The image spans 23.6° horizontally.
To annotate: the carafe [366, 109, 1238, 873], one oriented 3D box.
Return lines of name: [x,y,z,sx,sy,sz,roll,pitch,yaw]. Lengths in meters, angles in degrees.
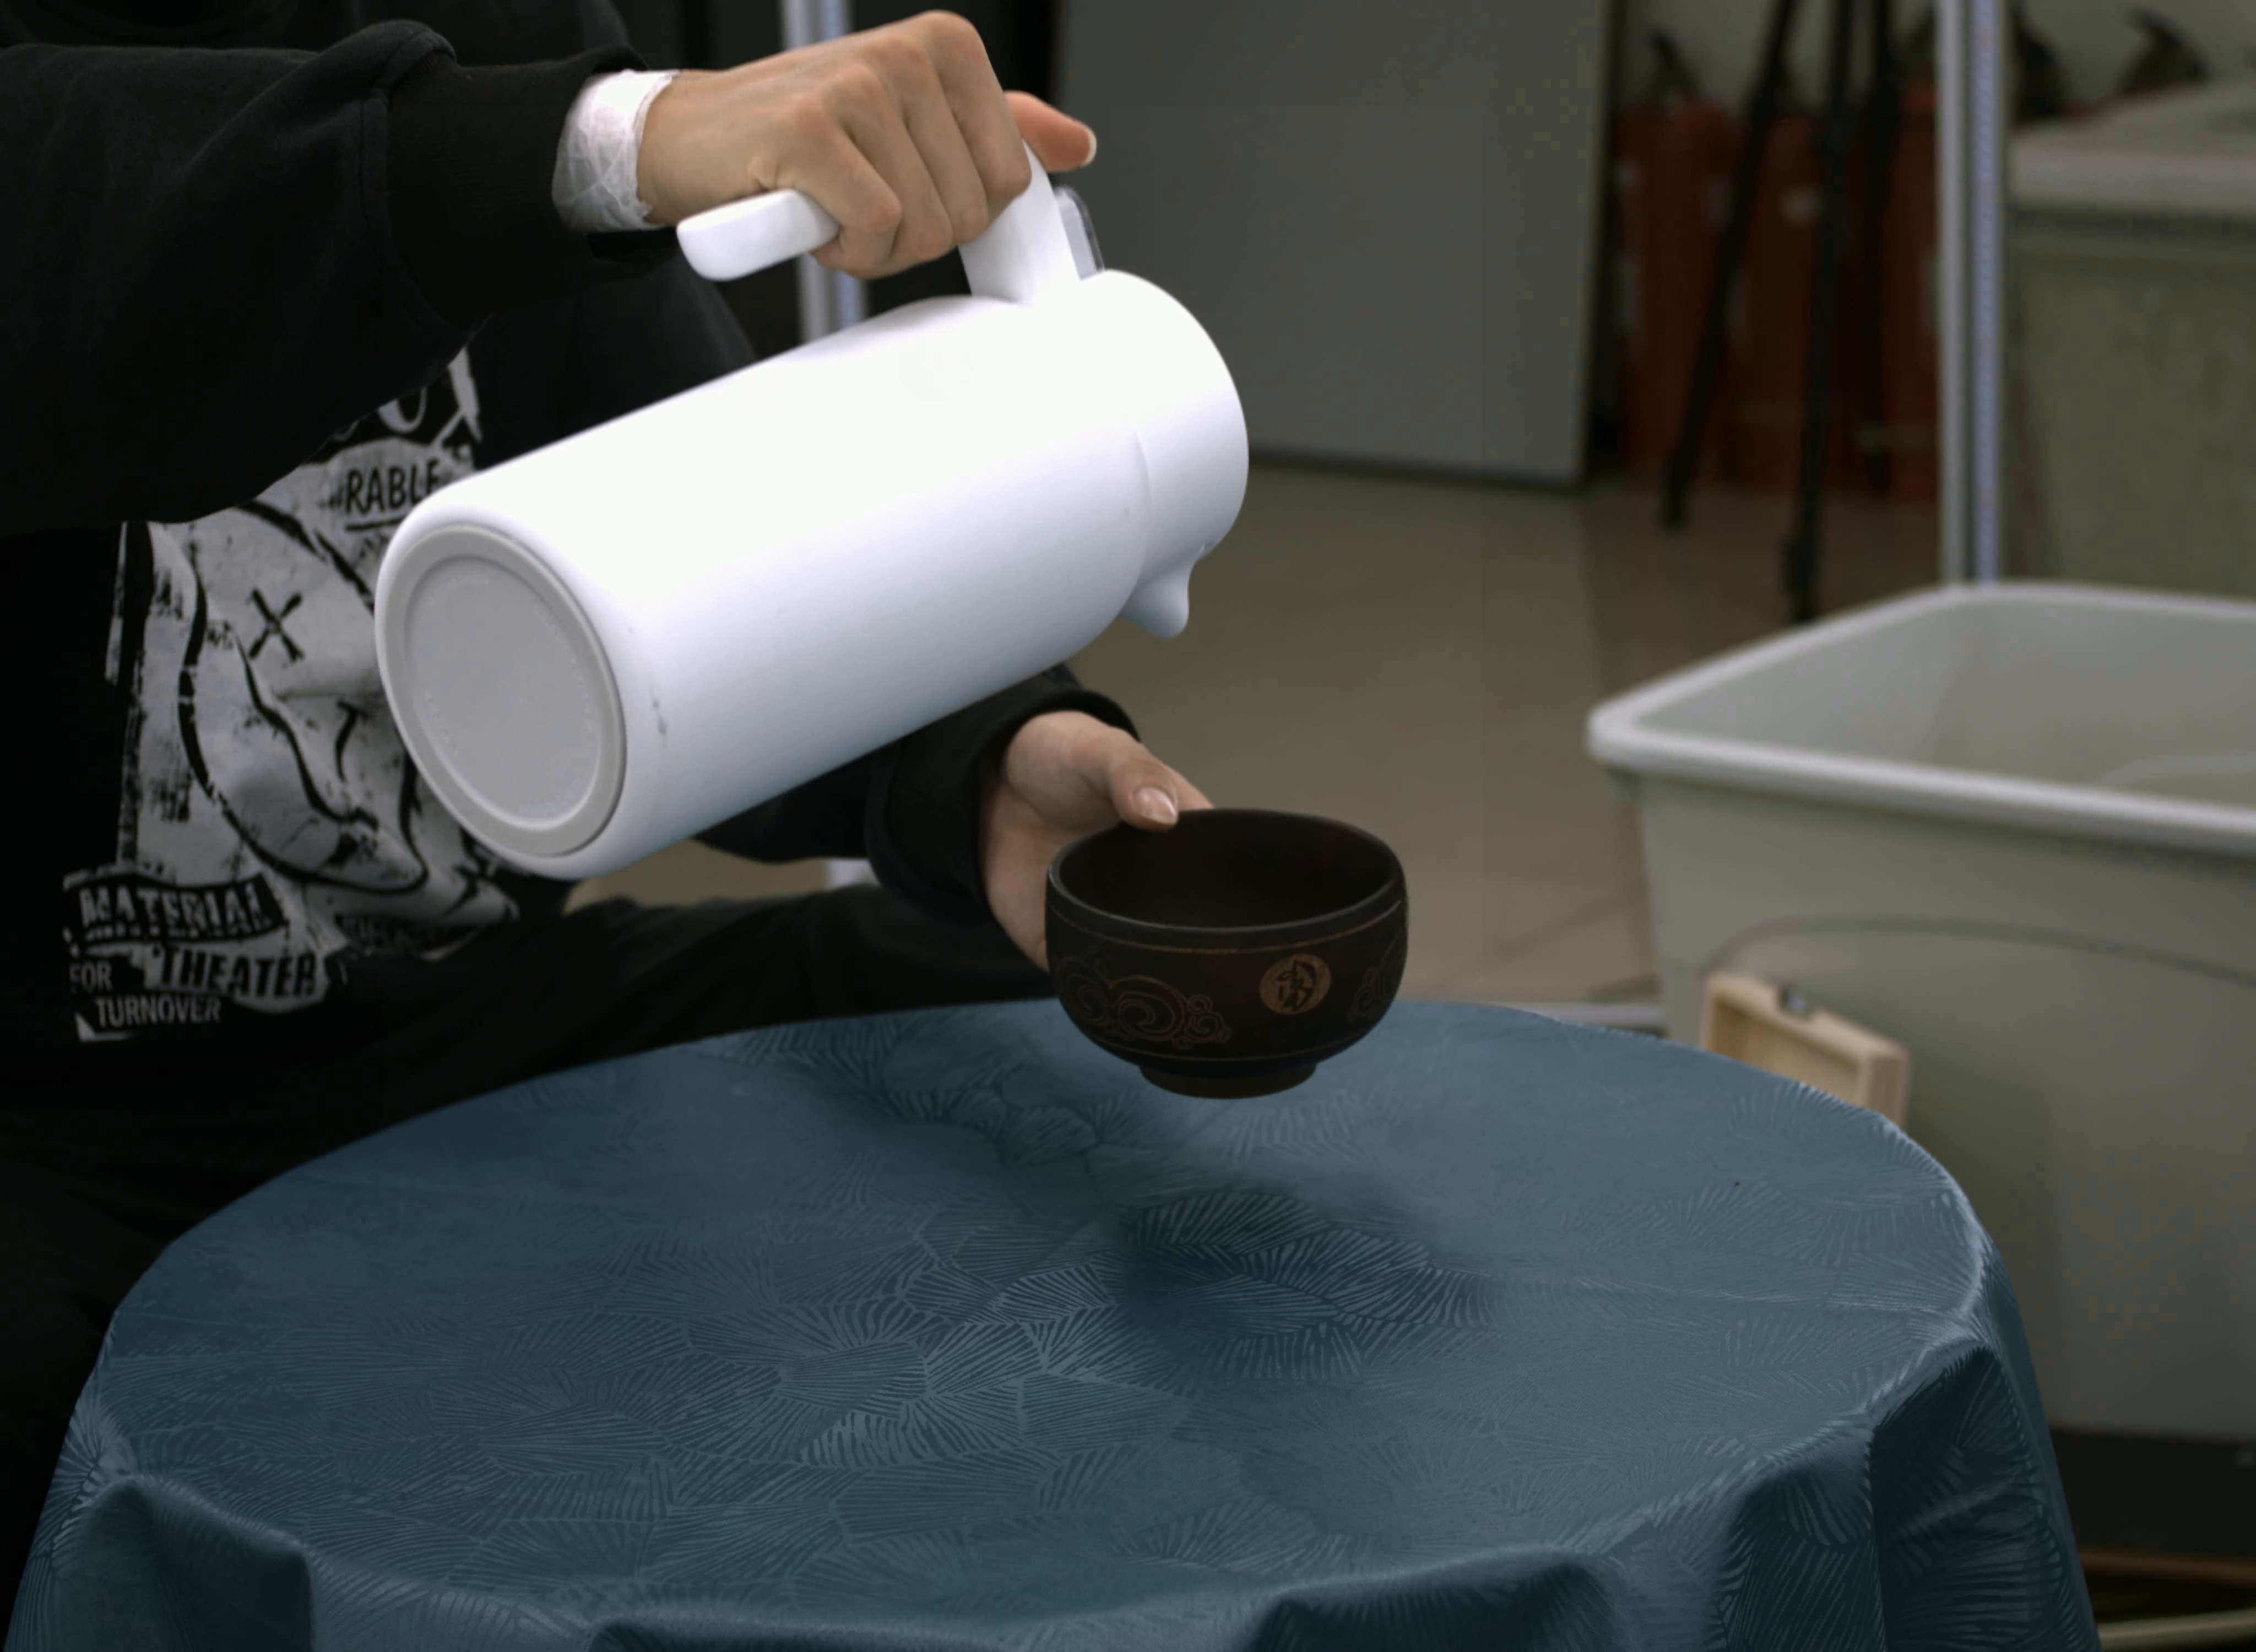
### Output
carafe: [-0.092,-0.100,1.567,0.264,0.174,0.125,-26,15,-40]

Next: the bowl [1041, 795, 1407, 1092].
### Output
bowl: [0.031,0.041,1.708,0.116,0.070,0.118,-3,19,0]
